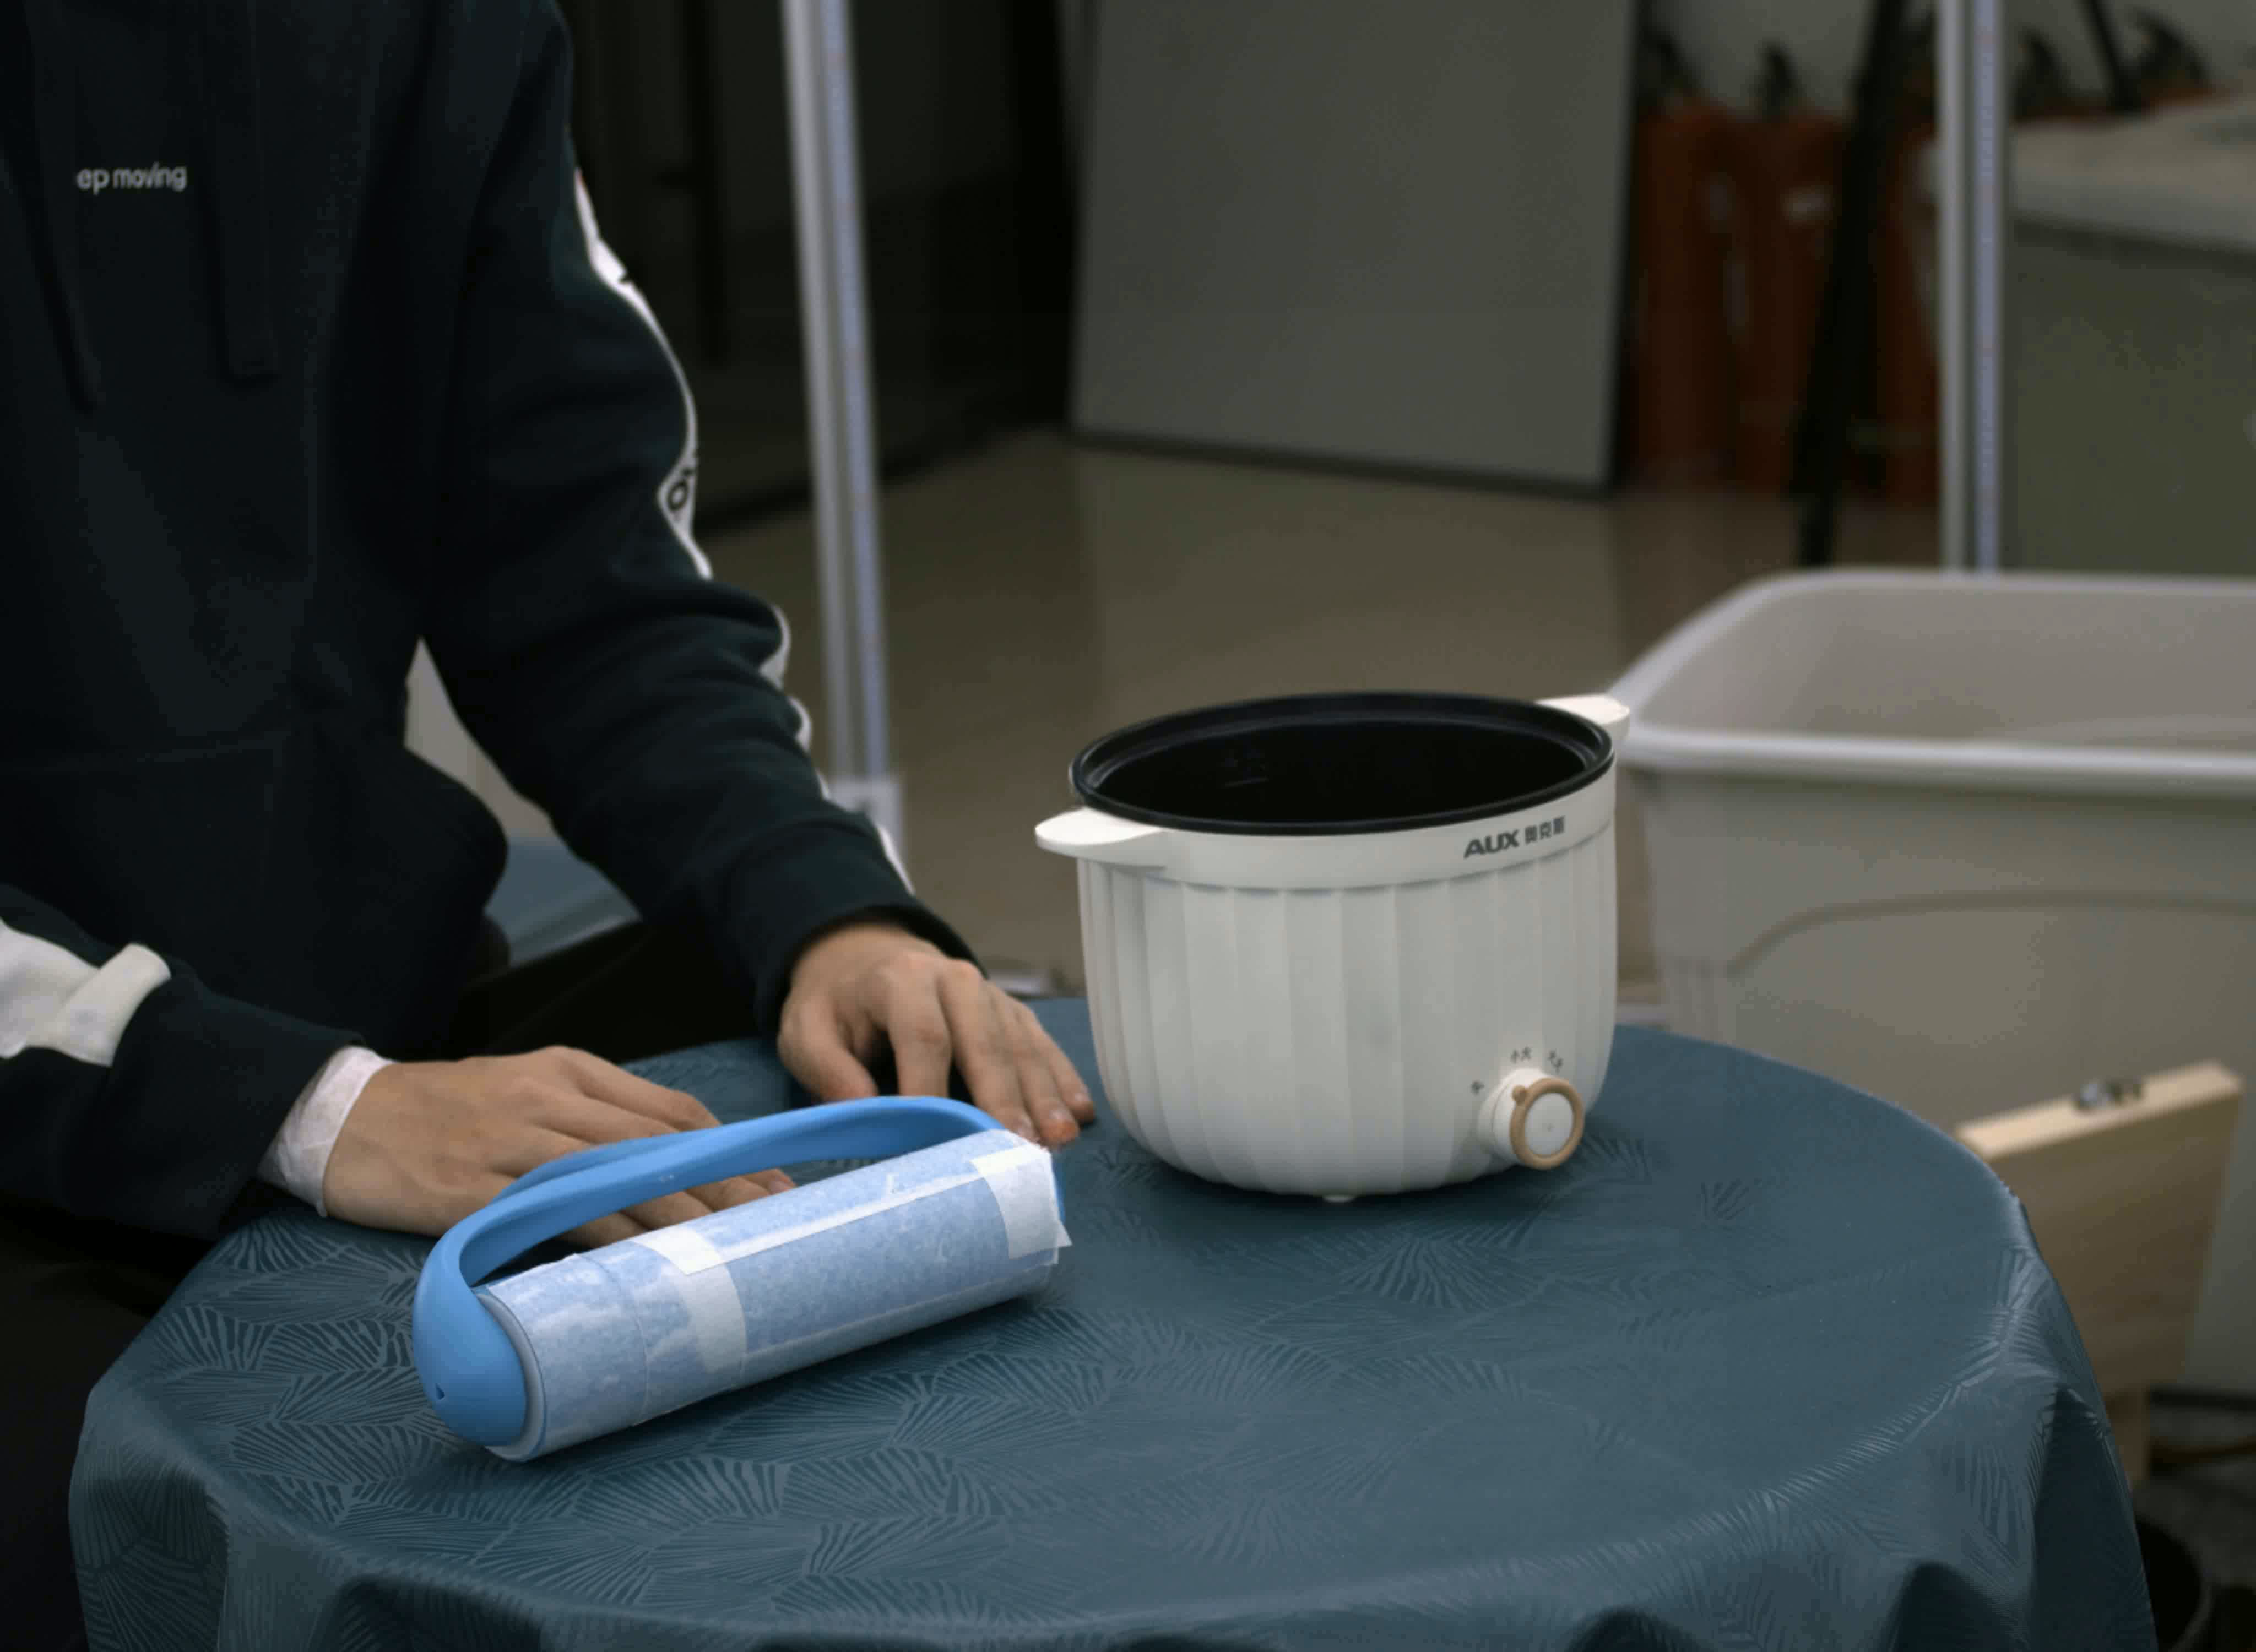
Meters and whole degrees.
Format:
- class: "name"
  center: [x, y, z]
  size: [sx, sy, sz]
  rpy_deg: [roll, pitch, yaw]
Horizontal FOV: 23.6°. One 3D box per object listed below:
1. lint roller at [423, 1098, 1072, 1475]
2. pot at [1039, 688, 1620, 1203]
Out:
- class: "lint roller"
  center: [-0.148, 0.130, 1.660]
  size: [0.224, 0.068, 0.182]
  rpy_deg: [-18, 21, -39]
- class: "pot"
  center: [0.078, 0.041, 1.783]
  size: [0.235, 0.144, 0.192]
  rpy_deg: [-15, 14, -34]
